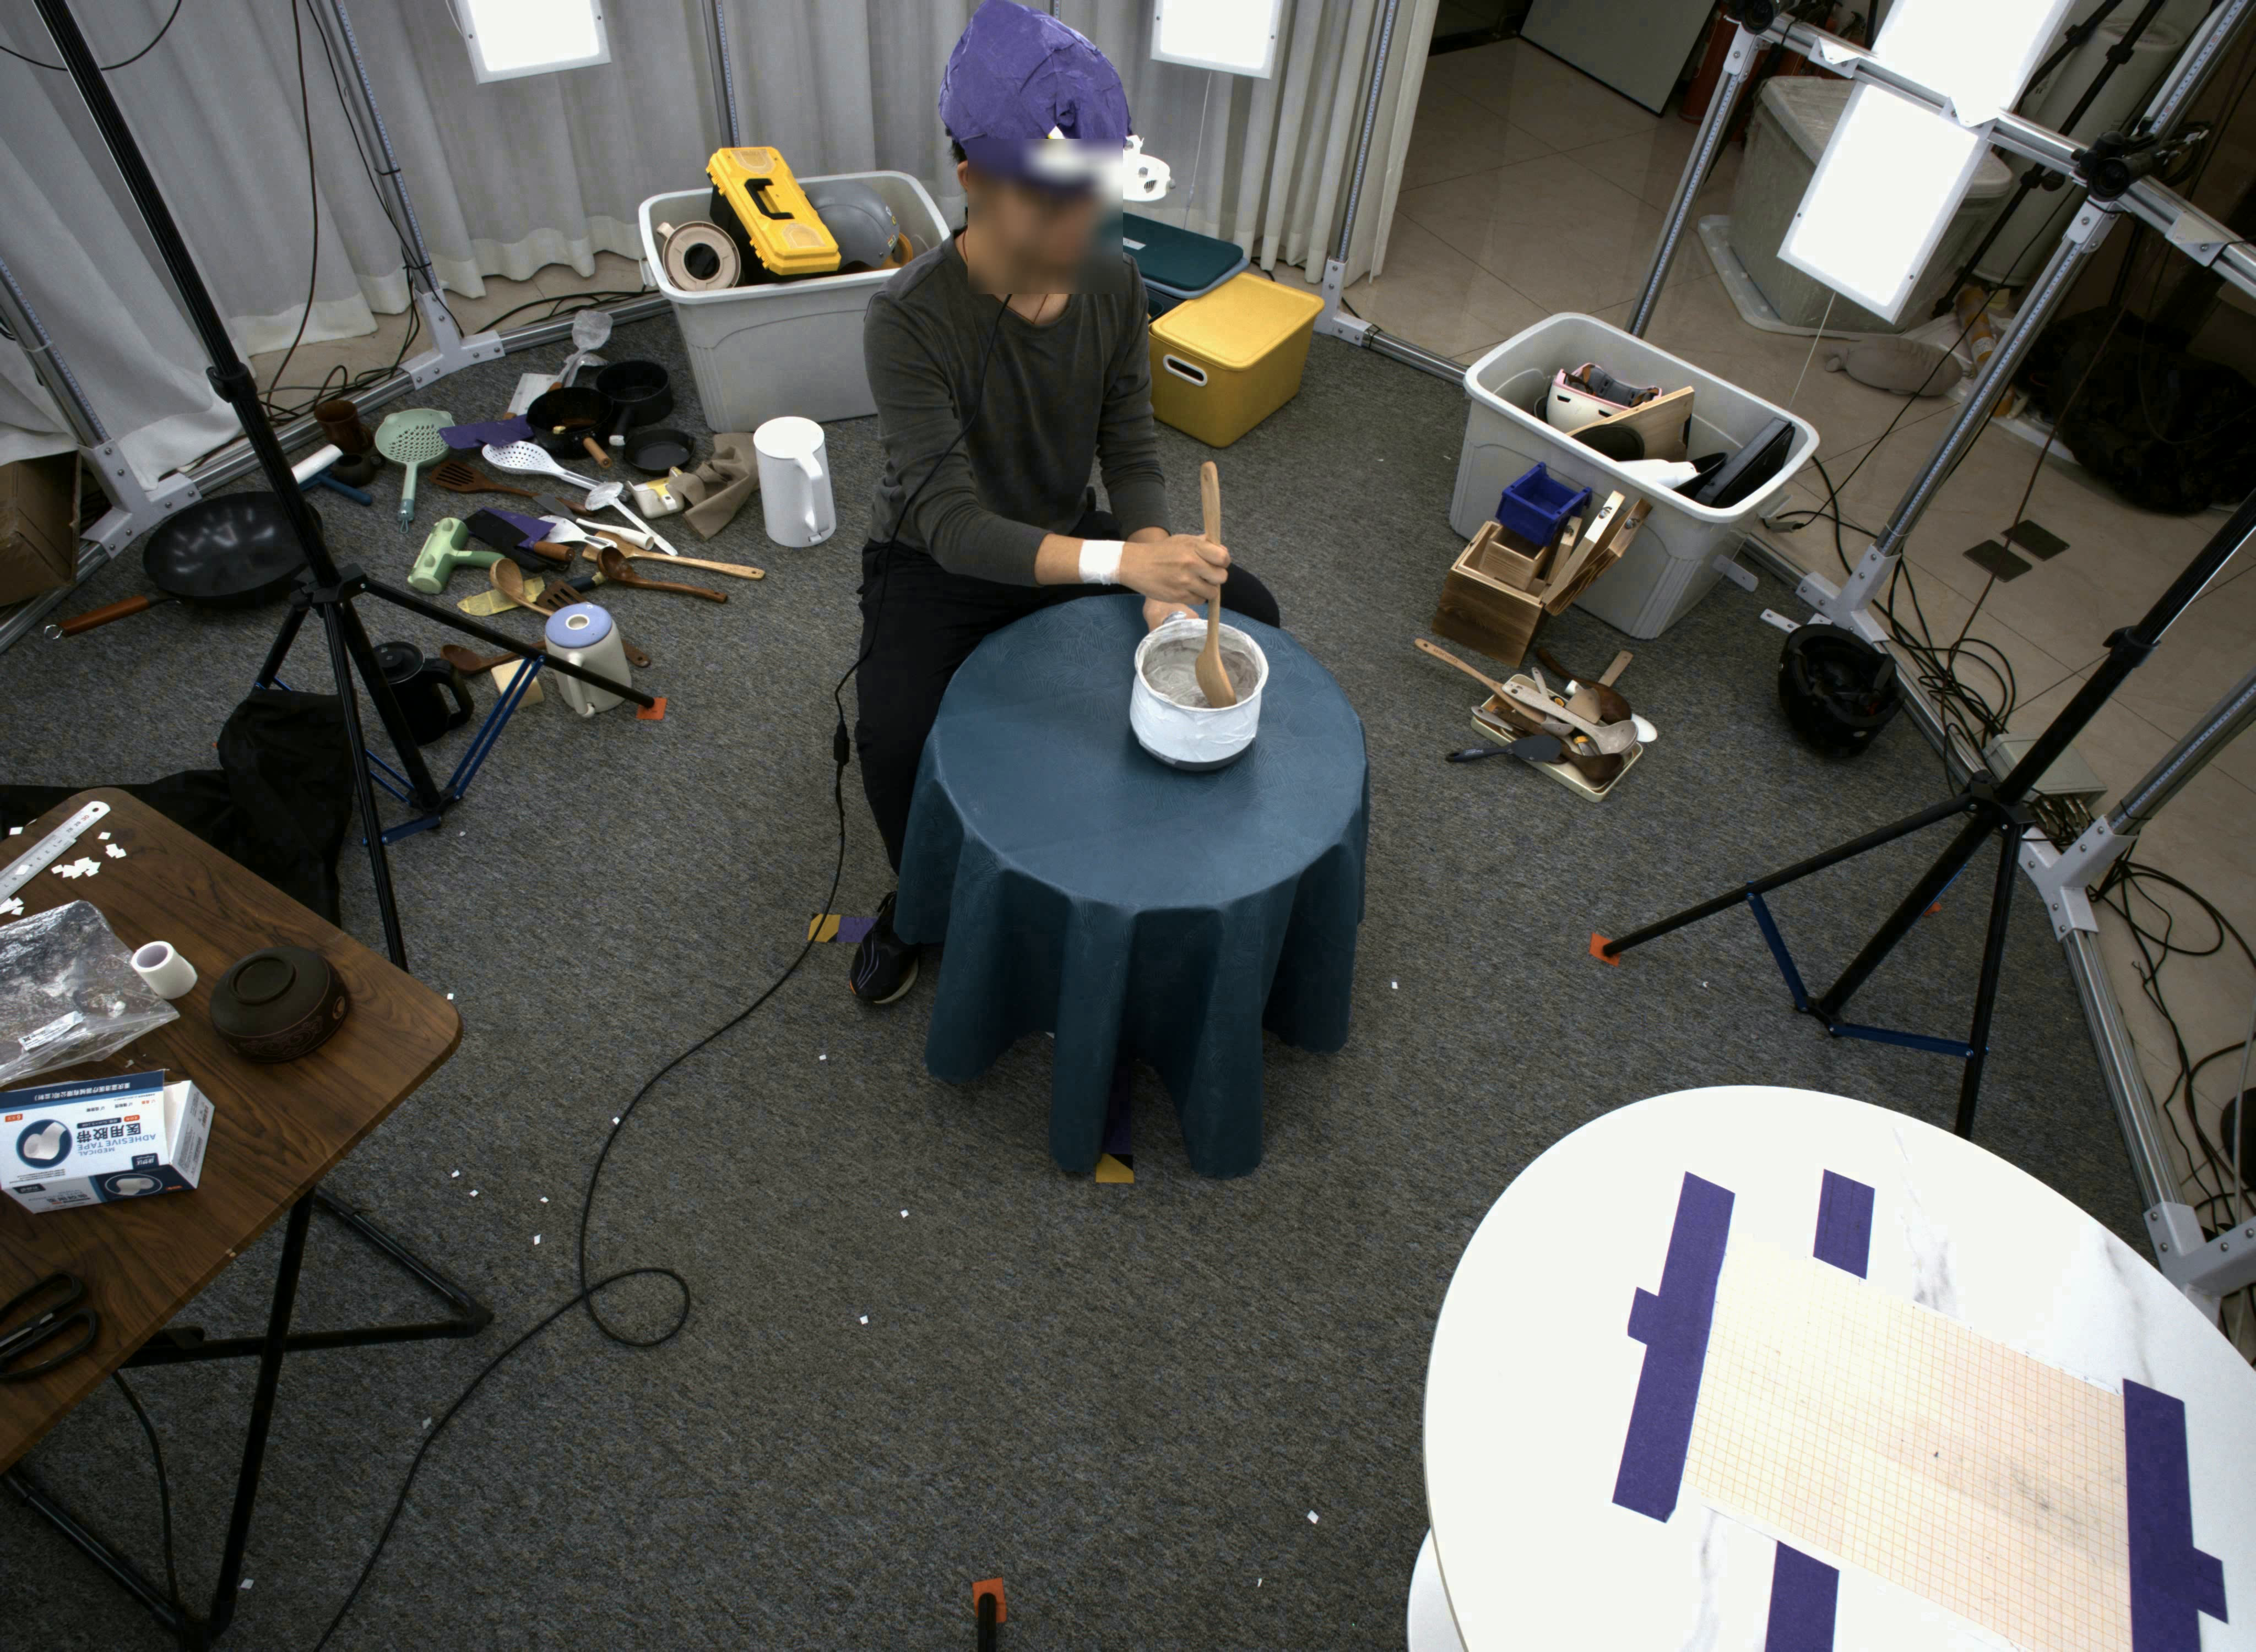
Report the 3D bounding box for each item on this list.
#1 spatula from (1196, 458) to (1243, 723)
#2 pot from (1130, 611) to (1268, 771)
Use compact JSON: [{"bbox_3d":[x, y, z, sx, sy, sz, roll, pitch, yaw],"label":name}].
[{"bbox_3d":[0.111,-0.282,1.604,0.018,0.381,0.098,-26,49,-20],"label":"spatula"},{"bbox_3d":[0.085,-0.194,1.753,0.178,0.133,0.239,-10,51,-13],"label":"pot"}]
